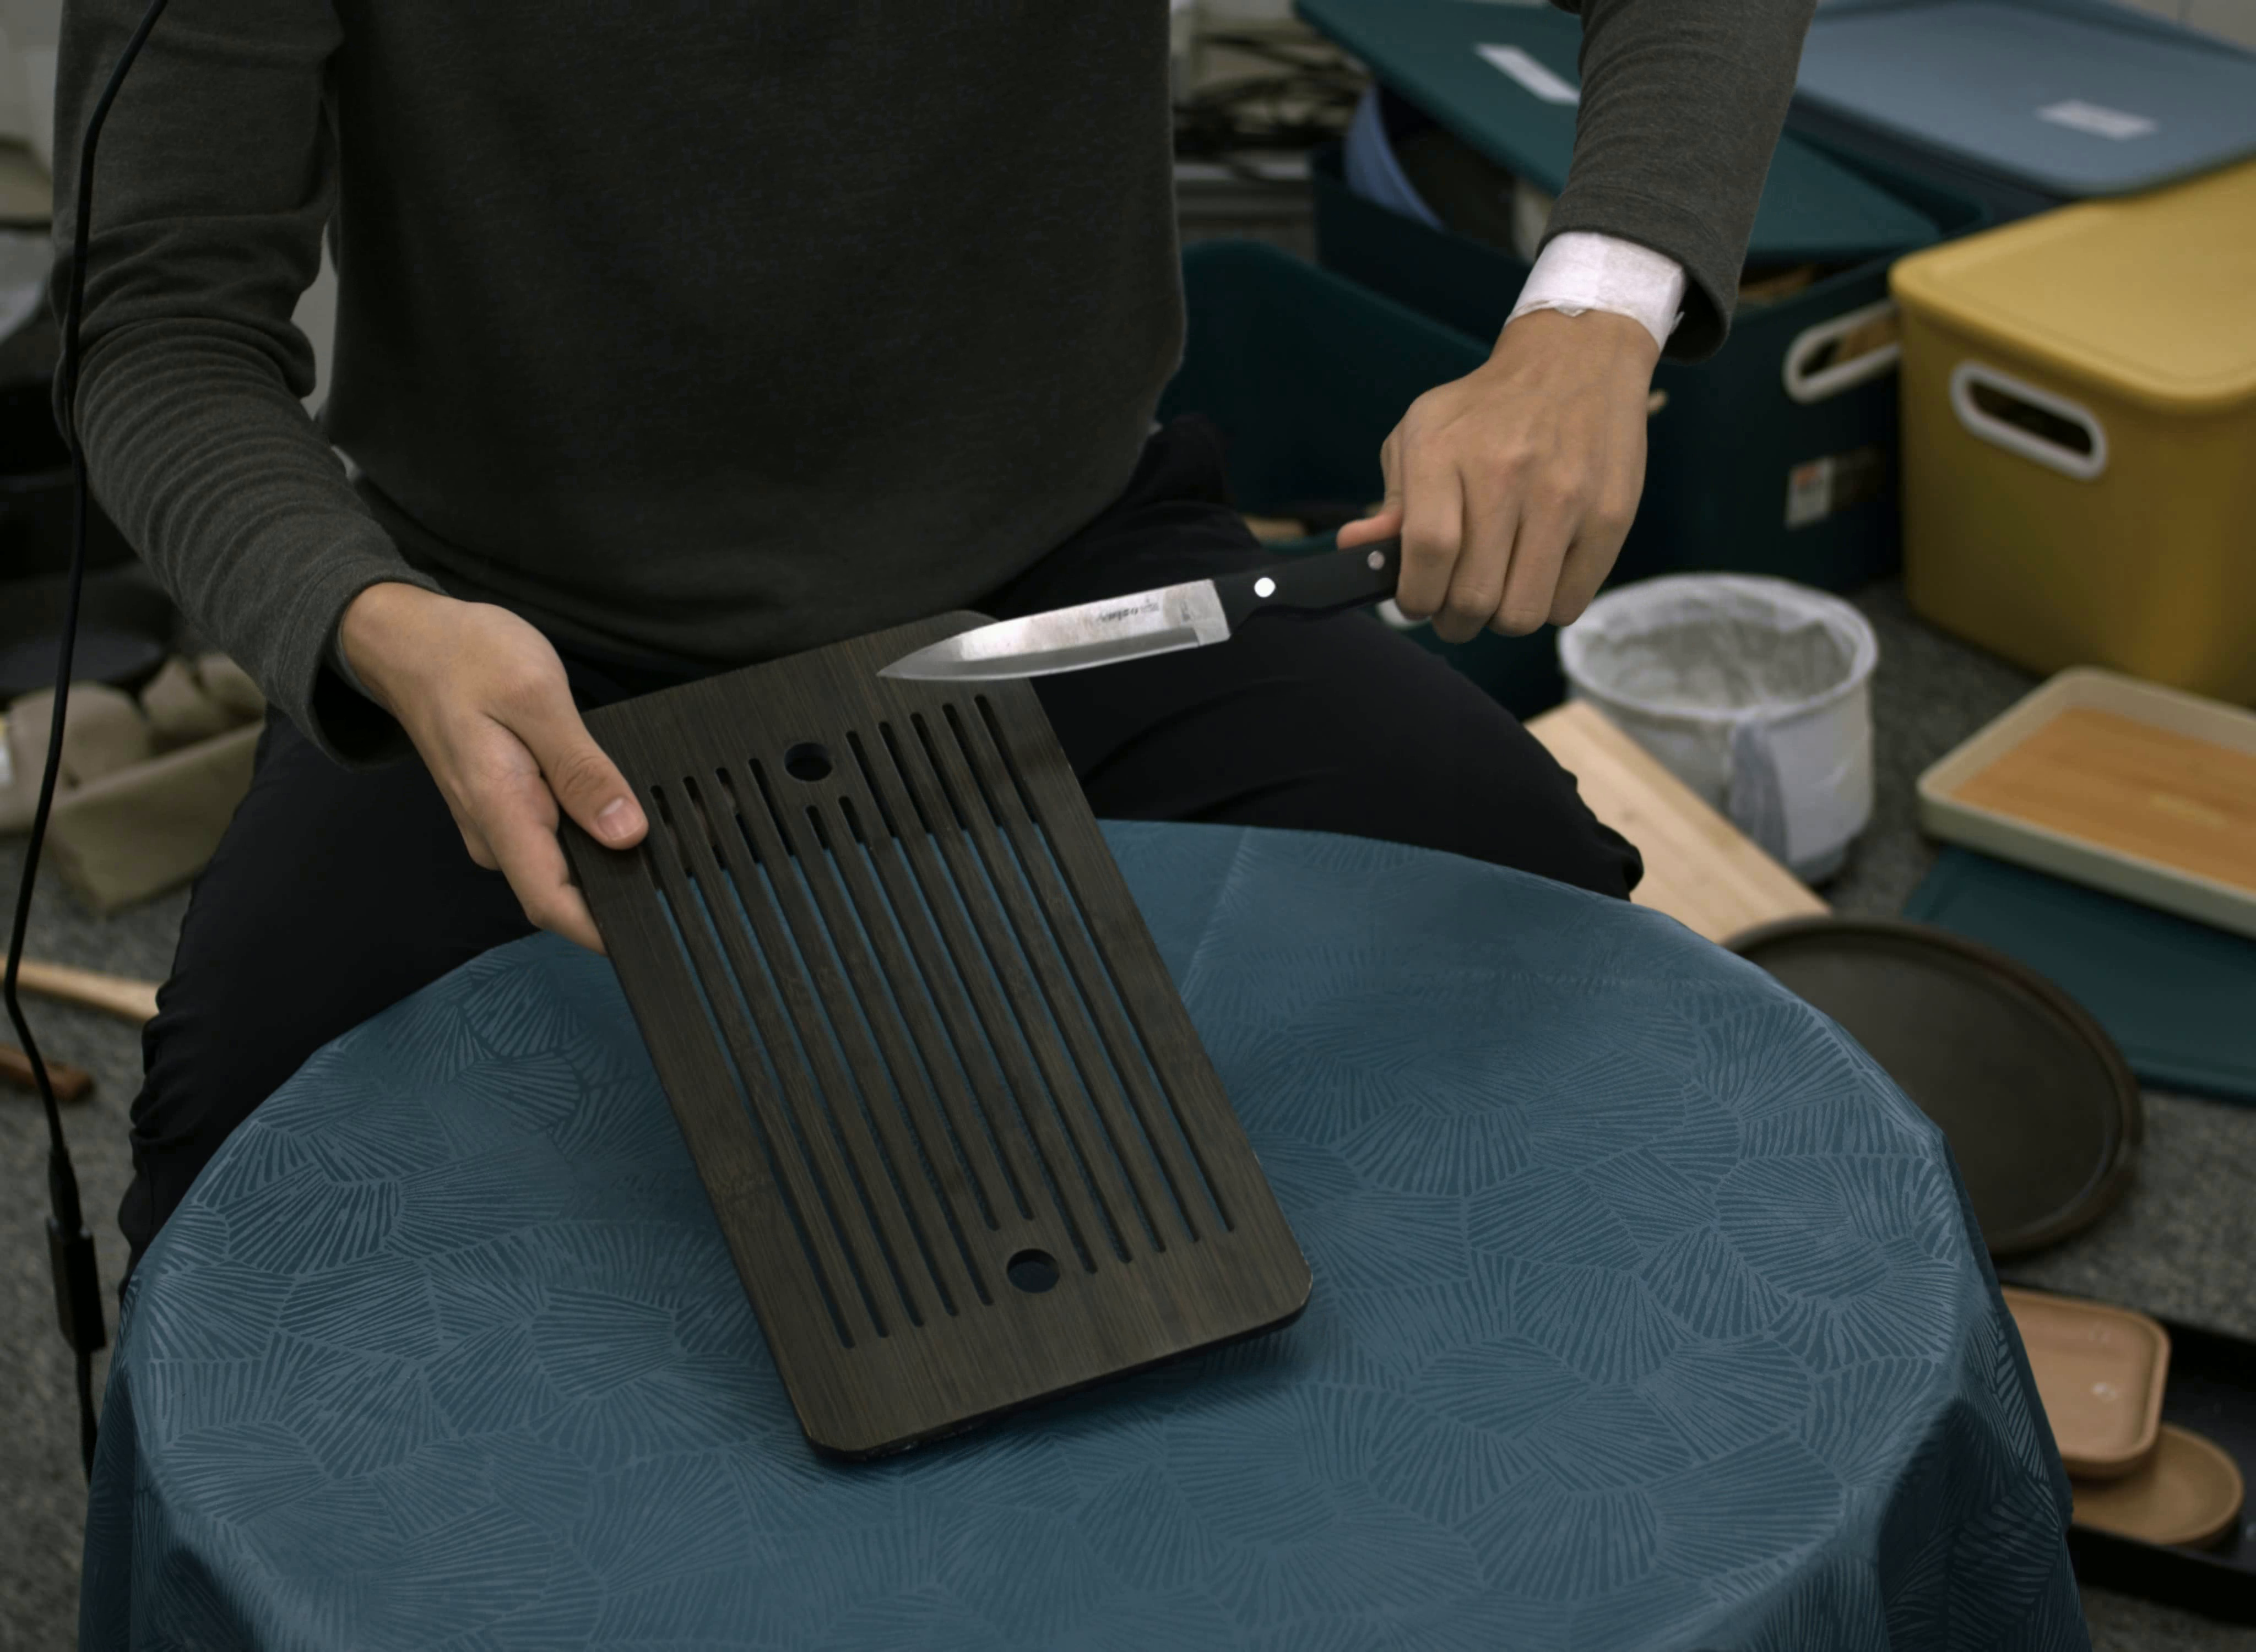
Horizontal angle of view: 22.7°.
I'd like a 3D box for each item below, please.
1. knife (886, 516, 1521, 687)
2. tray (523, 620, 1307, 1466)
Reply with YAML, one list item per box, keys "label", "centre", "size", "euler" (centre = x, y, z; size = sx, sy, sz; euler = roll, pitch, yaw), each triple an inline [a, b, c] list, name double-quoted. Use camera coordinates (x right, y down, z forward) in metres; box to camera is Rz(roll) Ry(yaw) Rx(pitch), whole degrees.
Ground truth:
- label: "knife"
  centre: [0.026, -0.076, 1.906]
  size: [0.239, 0.024, 0.016]
  euler: [-13, -7, -23]
- label: "tray"
  centre: [-0.073, 0.065, 1.827]
  size: [0.170, 0.018, 0.310]
  euler: [-15, 53, -15]
